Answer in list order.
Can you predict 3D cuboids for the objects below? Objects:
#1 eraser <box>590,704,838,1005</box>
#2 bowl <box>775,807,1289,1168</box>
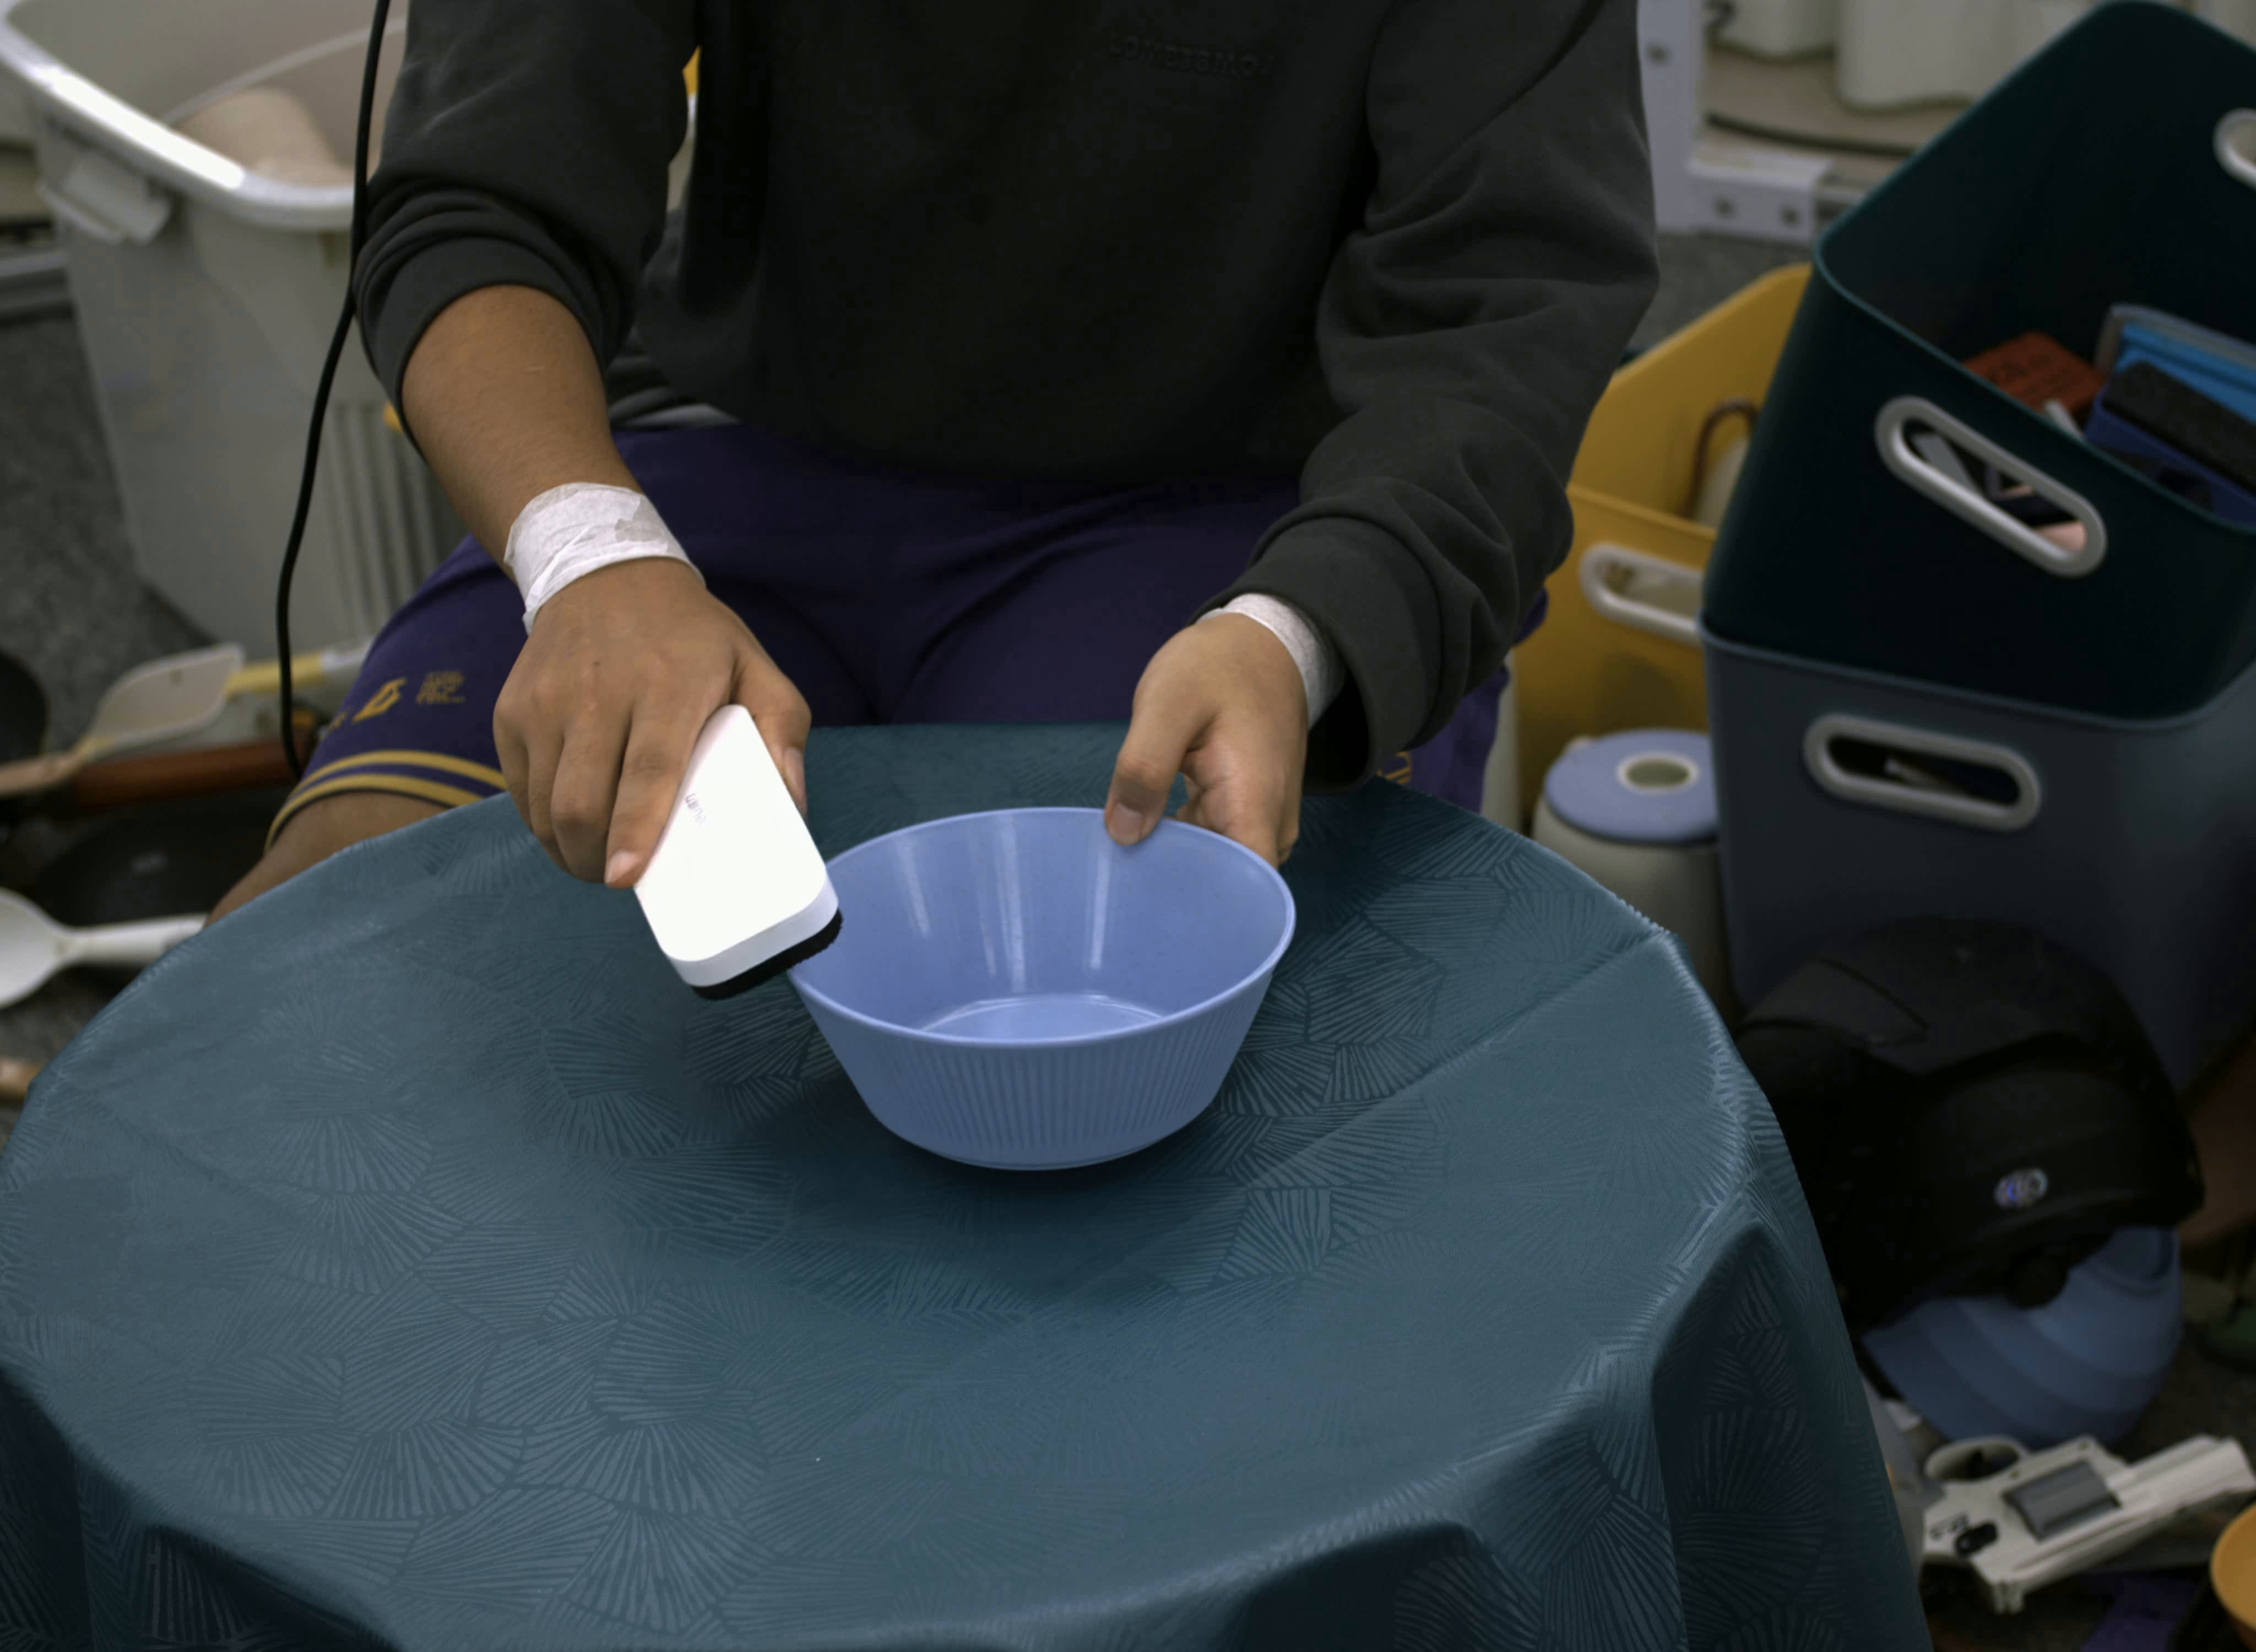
[{"bbox_3d":[-0.138,0.006,1.891,0.063,0.034,0.133,-25,37,-3],"label":"eraser"},{"bbox_3d":[-0.033,0.060,1.893,0.175,0.069,0.178,0,26,1],"label":"bowl"}]
